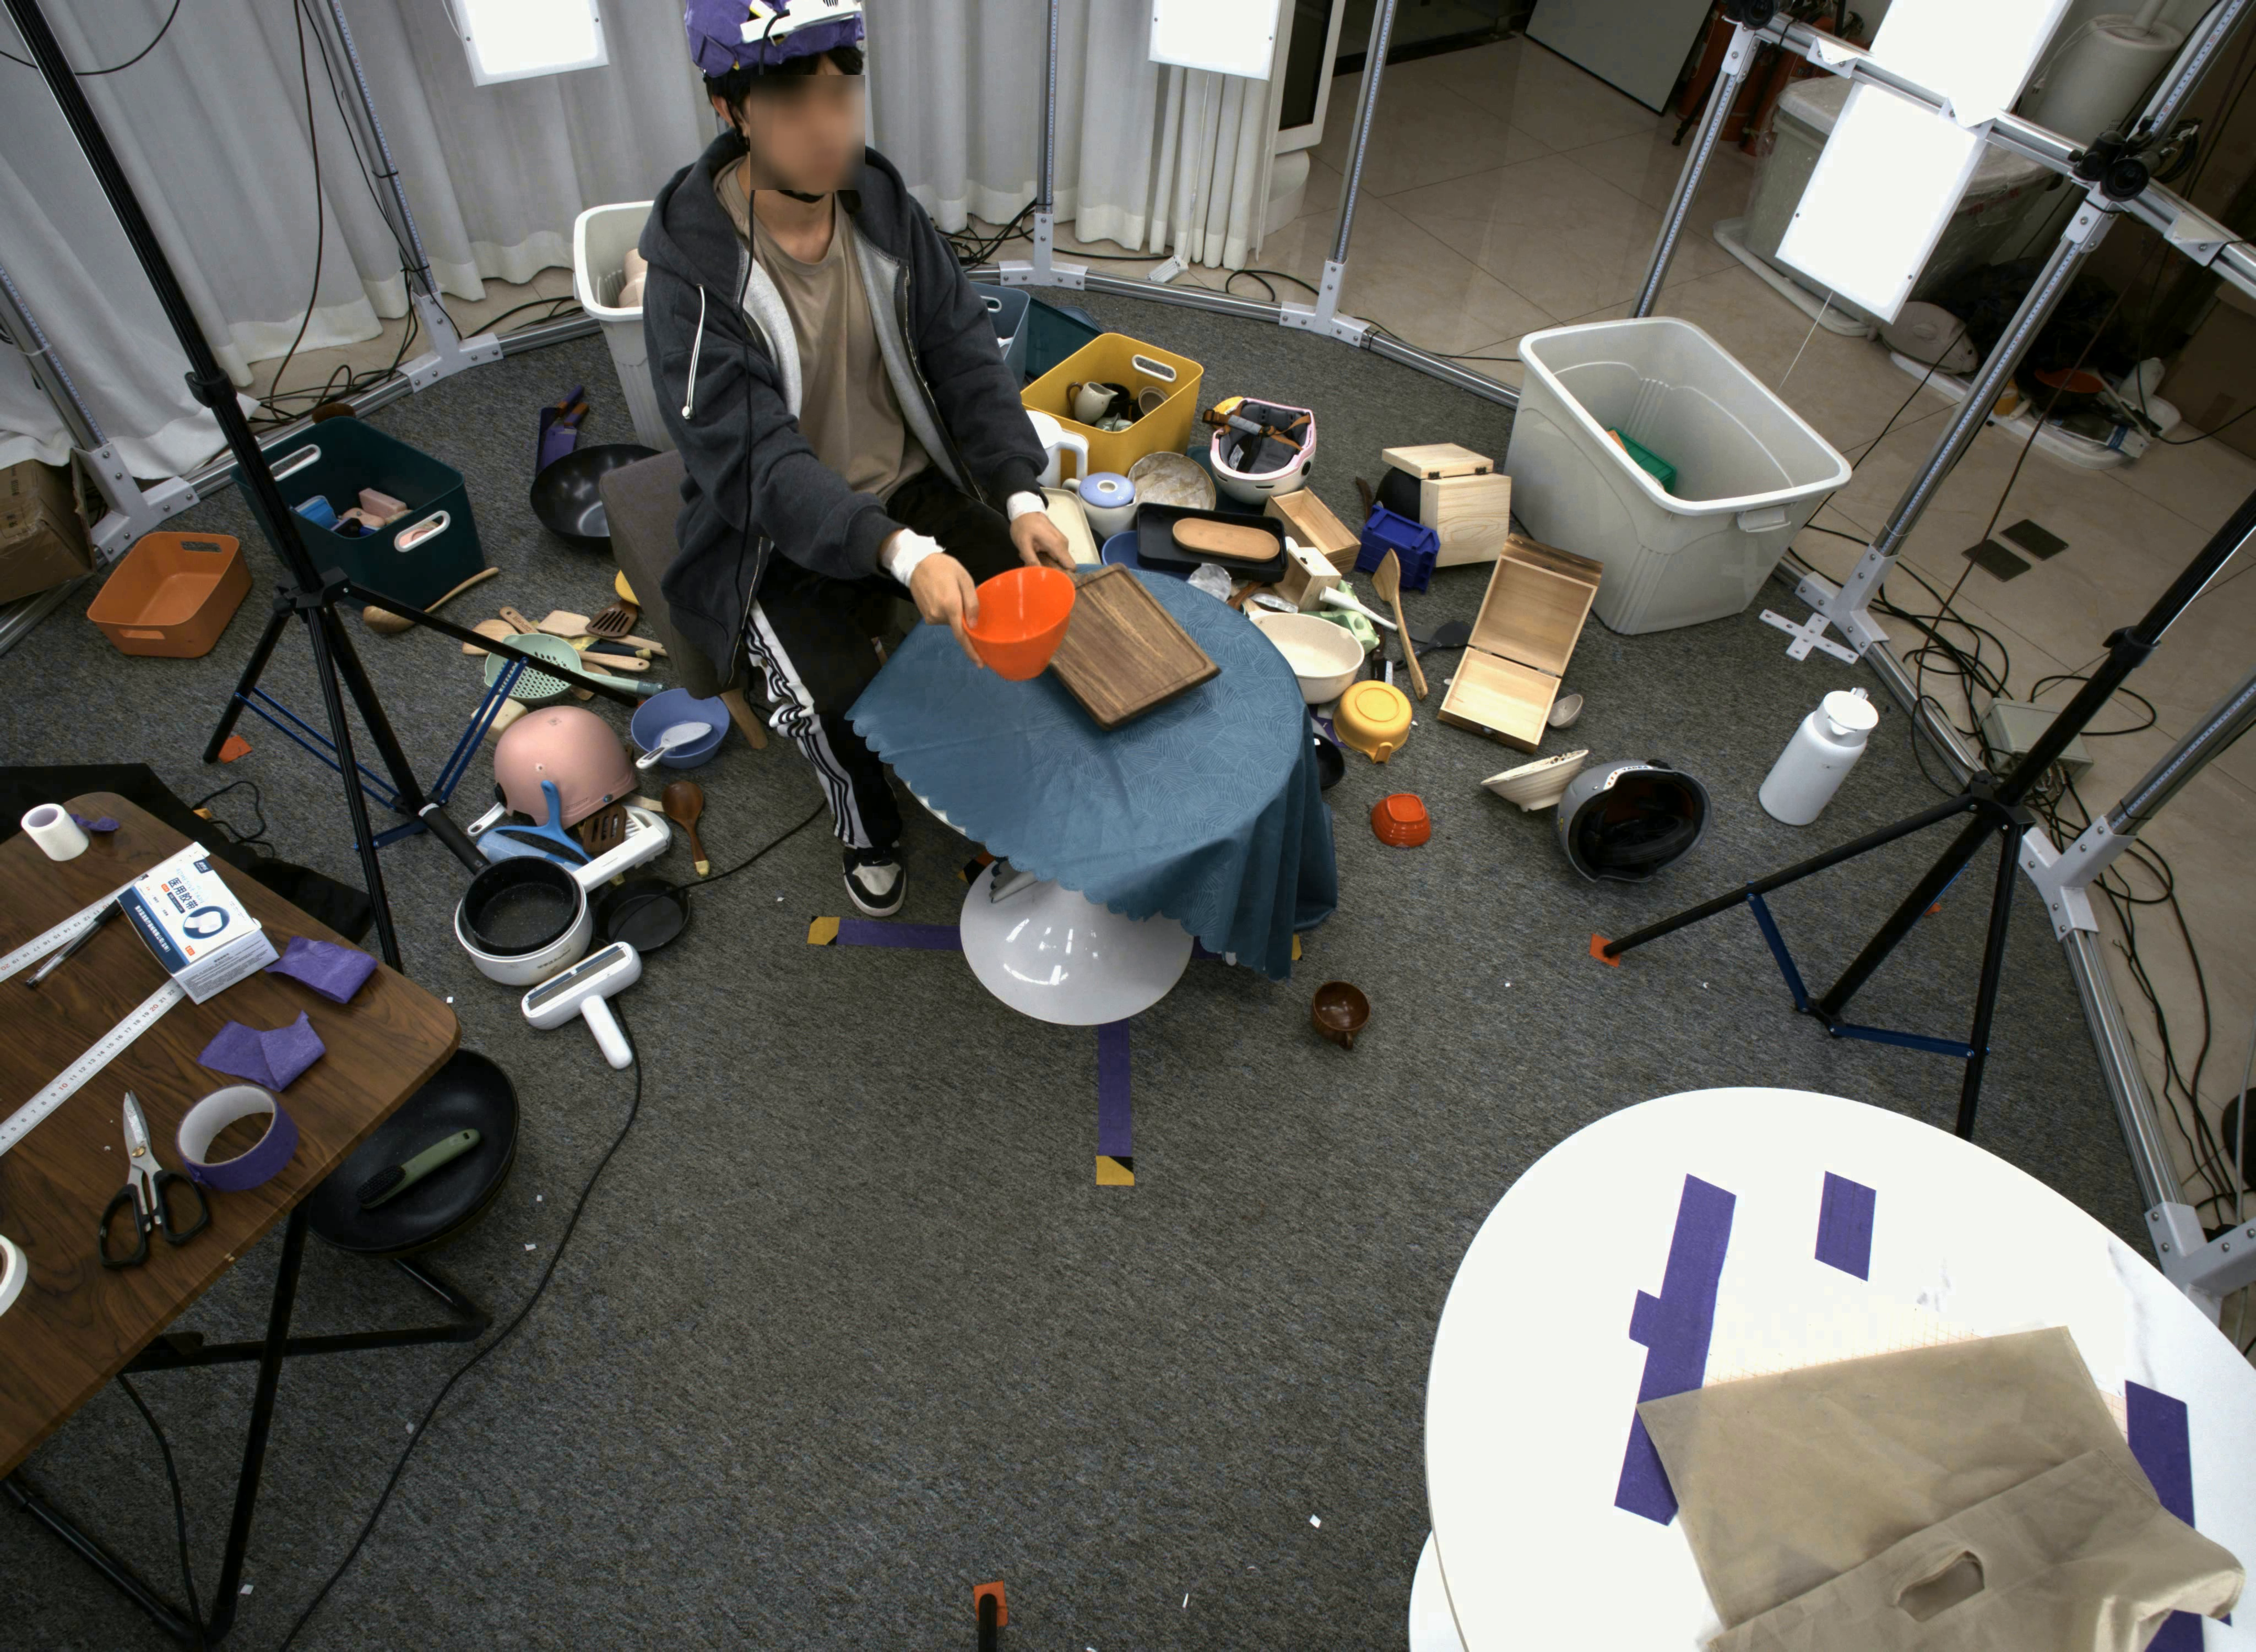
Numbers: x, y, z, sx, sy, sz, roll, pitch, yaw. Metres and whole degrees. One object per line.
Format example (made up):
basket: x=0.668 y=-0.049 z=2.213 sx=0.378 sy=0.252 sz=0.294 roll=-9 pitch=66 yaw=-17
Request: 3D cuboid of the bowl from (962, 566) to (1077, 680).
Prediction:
bowl: x=-0.135 y=-0.253 z=1.650 sx=0.148 sy=0.102 sz=0.151 roll=-3 pitch=39 yaw=2

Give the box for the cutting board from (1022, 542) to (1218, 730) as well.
cutting board: x=-0.049 y=-0.298 z=1.862 sx=0.202 sy=0.022 sz=0.359 roll=-27 pitch=60 yaw=-21
